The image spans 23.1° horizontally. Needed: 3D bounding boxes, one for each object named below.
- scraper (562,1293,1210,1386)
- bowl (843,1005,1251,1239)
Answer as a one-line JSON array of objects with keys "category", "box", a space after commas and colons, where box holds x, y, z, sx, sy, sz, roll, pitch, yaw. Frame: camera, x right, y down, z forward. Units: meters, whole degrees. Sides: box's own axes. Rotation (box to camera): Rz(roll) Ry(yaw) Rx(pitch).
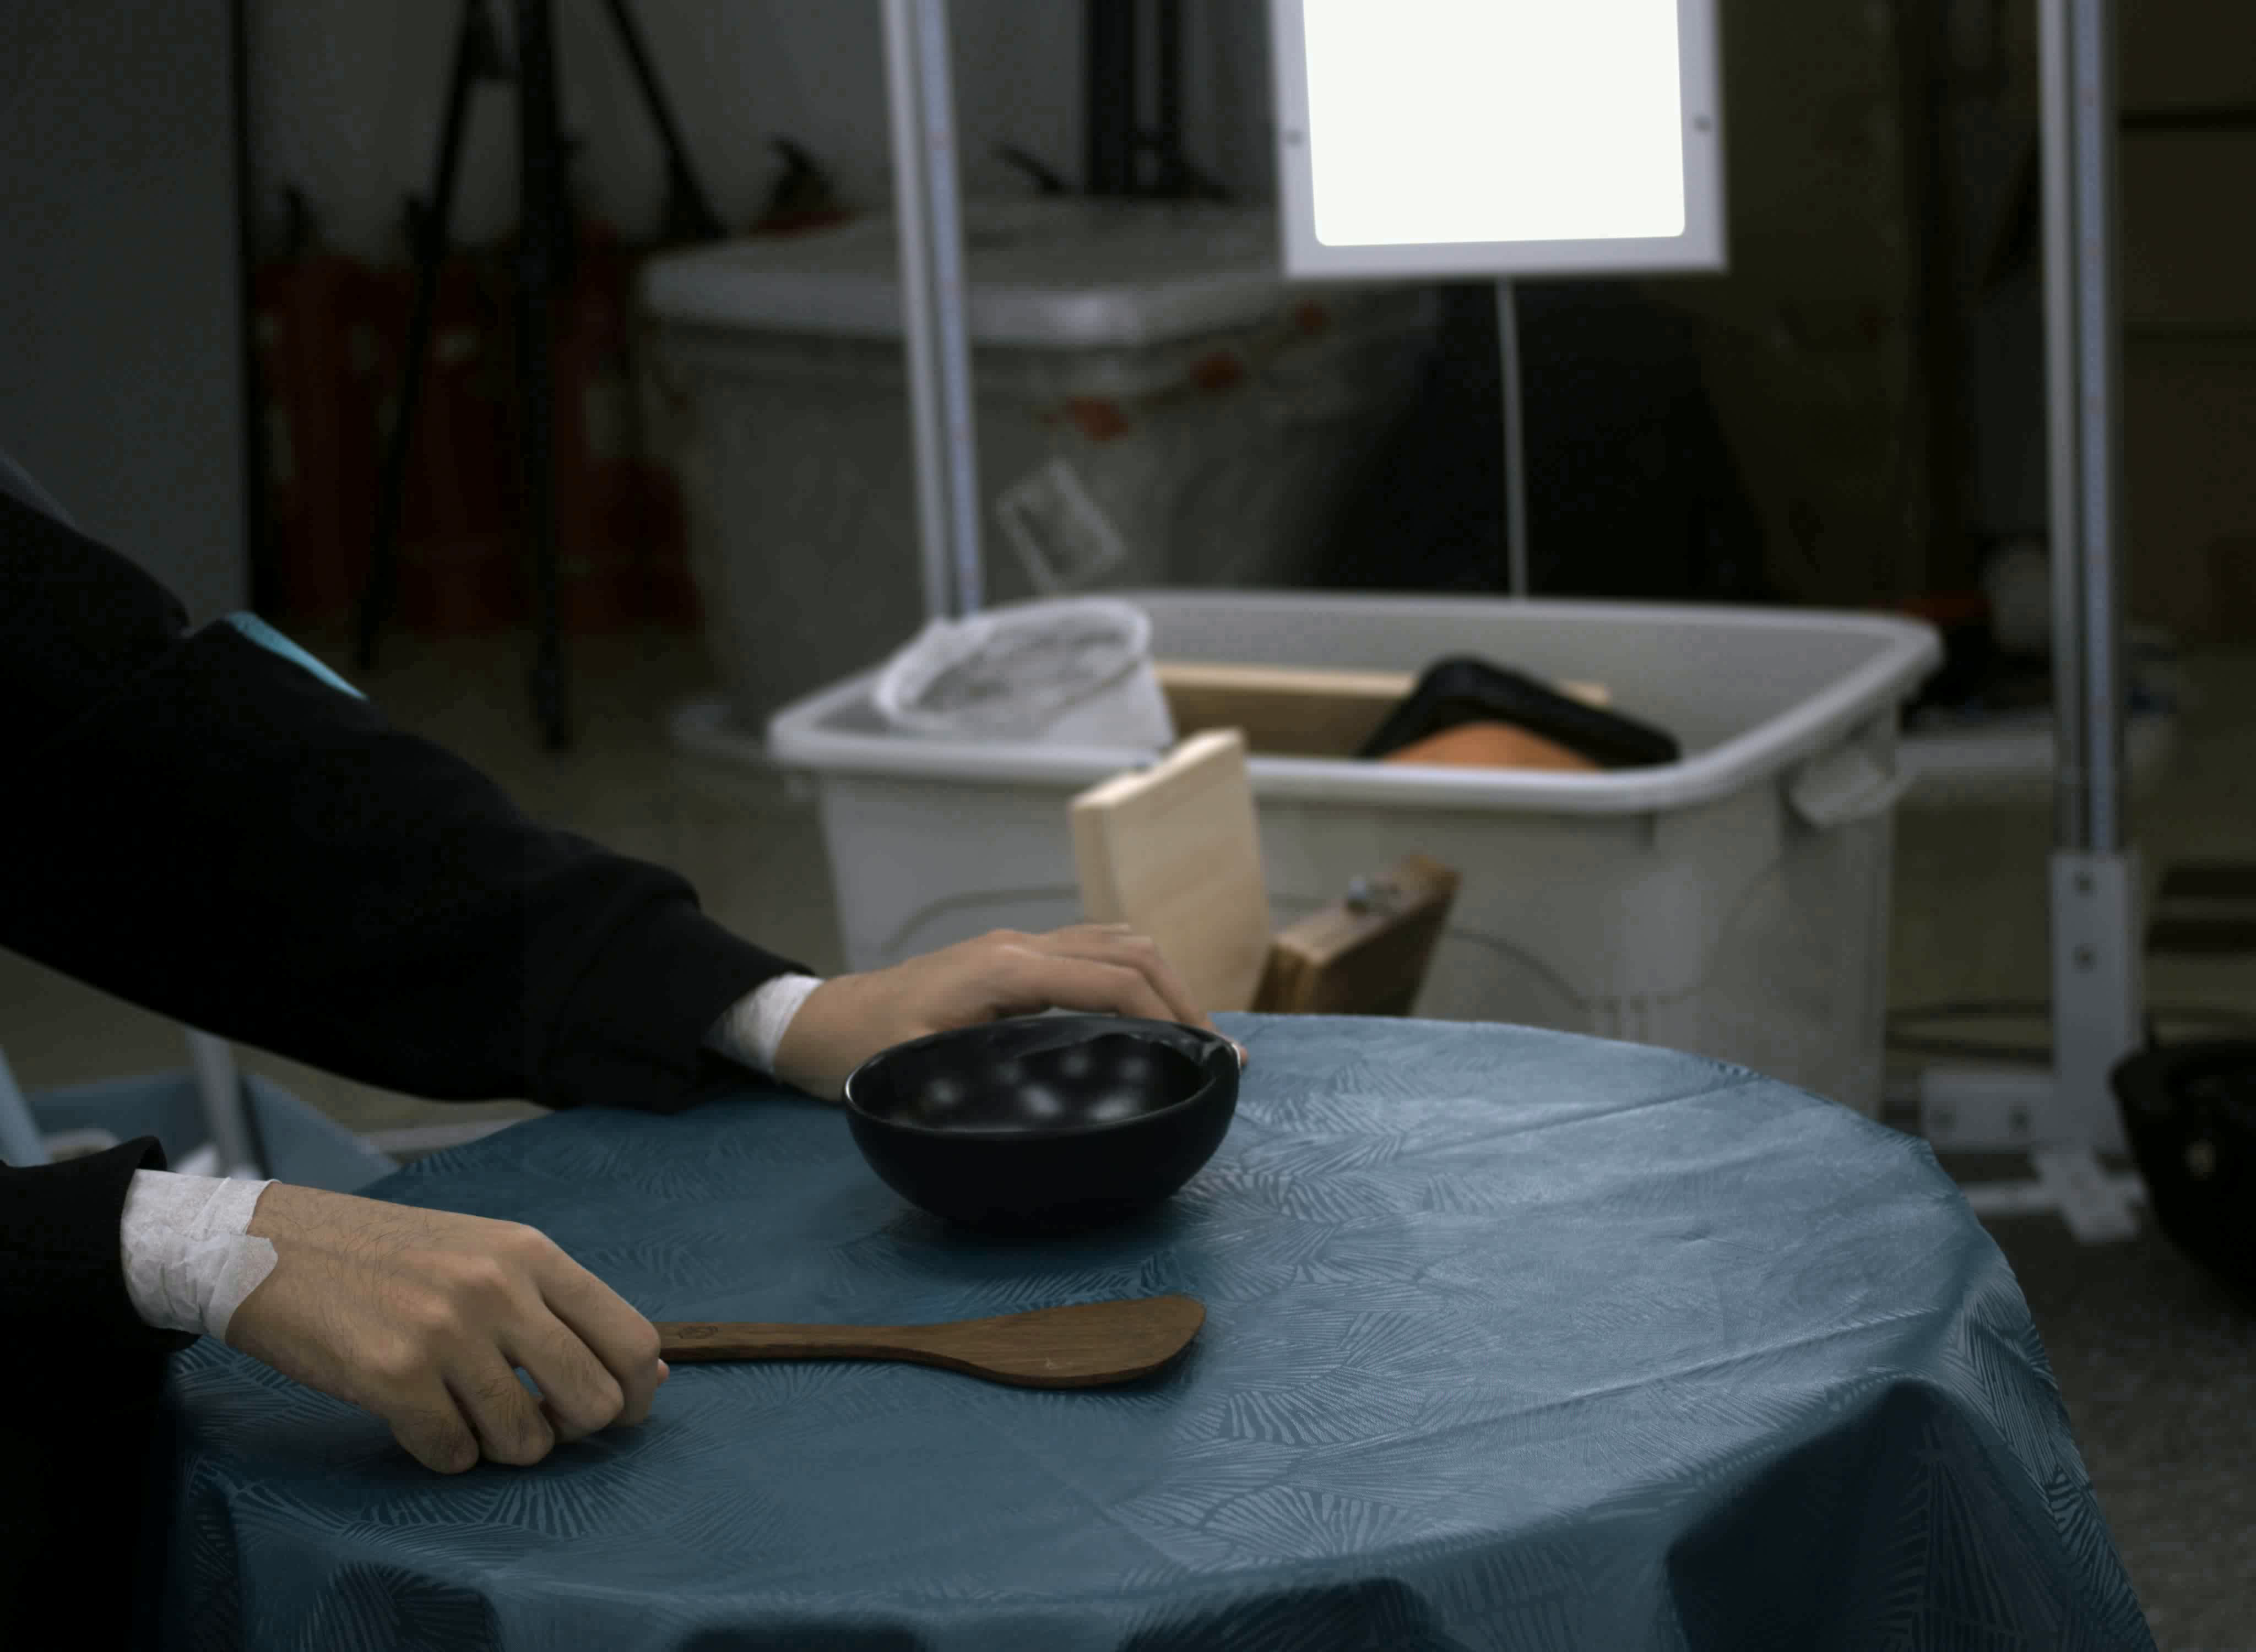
[{"category": "scraper", "box": [-0.079, 0.164, 1.756, 0.213, 0.011, 0.075, -2, 12, 16]}, {"category": "bowl", "box": [-0.027, 0.106, 1.886, 0.139, 0.050, 0.140, -4, 17, 0]}]
